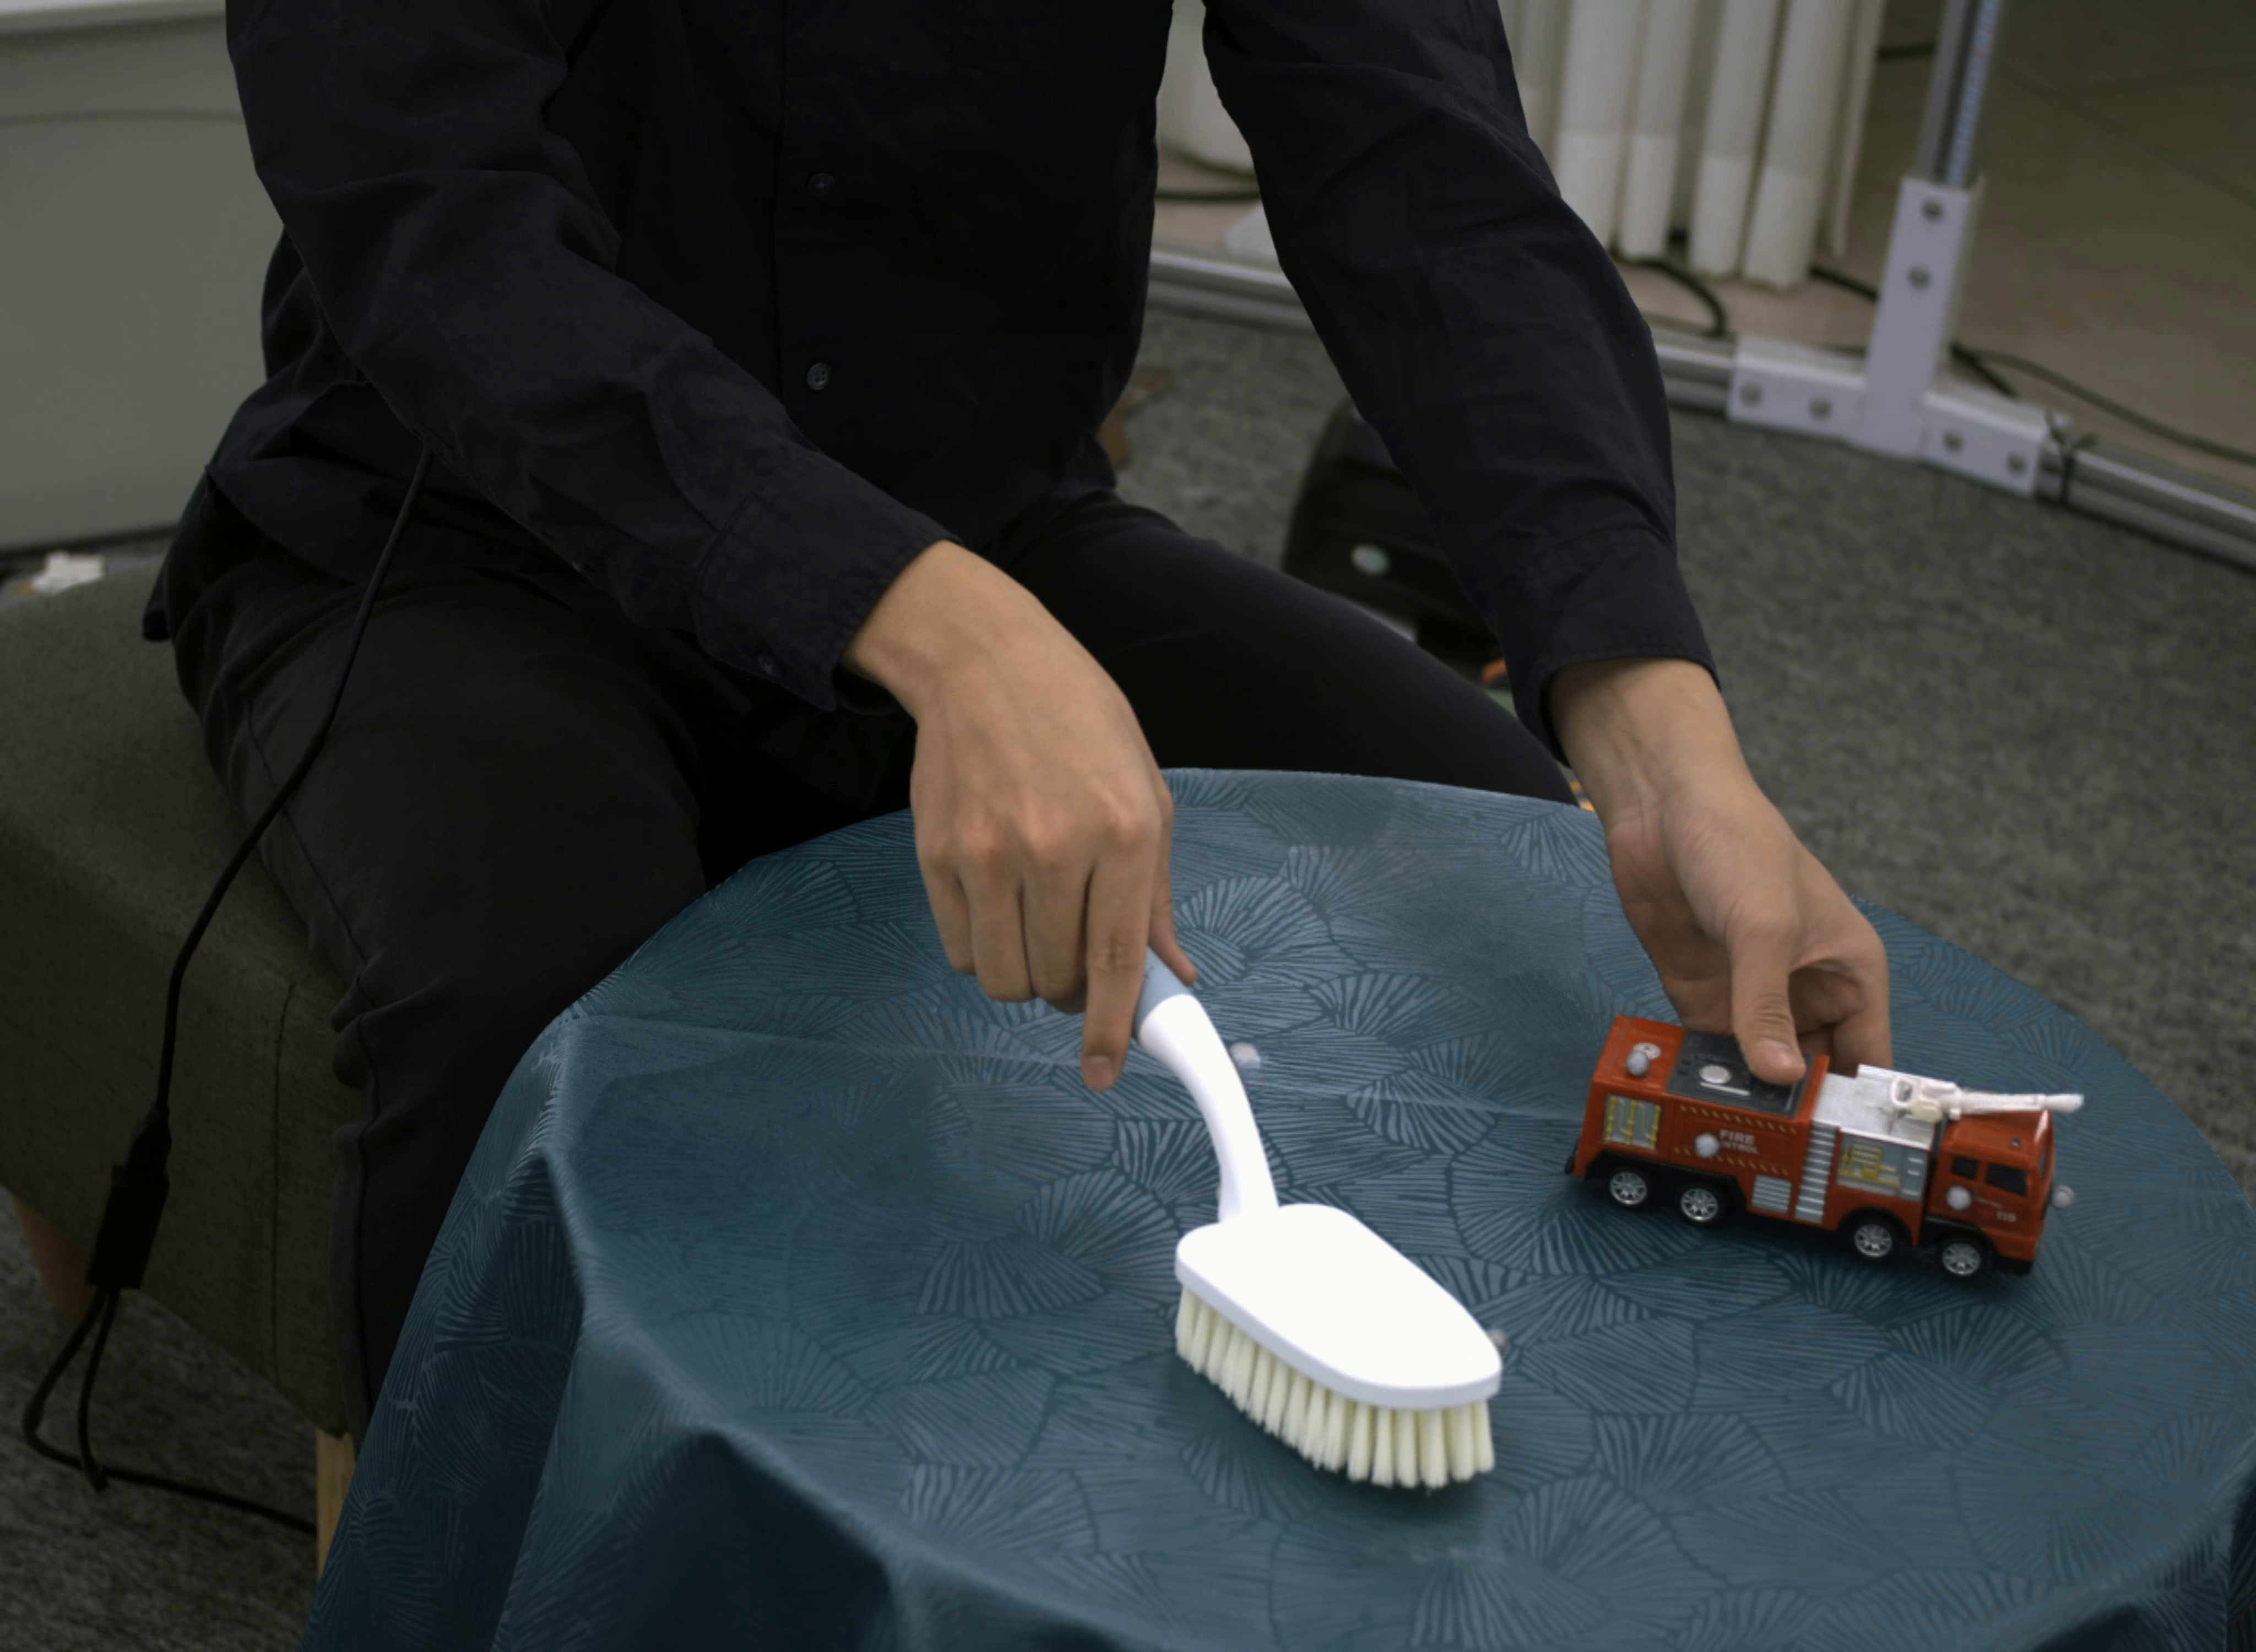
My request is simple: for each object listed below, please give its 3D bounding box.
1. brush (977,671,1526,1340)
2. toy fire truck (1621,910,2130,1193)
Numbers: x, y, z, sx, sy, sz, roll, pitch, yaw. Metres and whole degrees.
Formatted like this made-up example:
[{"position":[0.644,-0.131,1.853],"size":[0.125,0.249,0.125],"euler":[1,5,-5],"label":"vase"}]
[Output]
[{"position":[0.034,0.069,1.776],"size":[0.082,0.084,0.328],"euler":[33,11,-48],"label":"brush"},{"position":[0.256,0.075,1.828],"size":[0.168,0.070,0.054],"euler":[10,29,12],"label":"toy fire truck"}]
